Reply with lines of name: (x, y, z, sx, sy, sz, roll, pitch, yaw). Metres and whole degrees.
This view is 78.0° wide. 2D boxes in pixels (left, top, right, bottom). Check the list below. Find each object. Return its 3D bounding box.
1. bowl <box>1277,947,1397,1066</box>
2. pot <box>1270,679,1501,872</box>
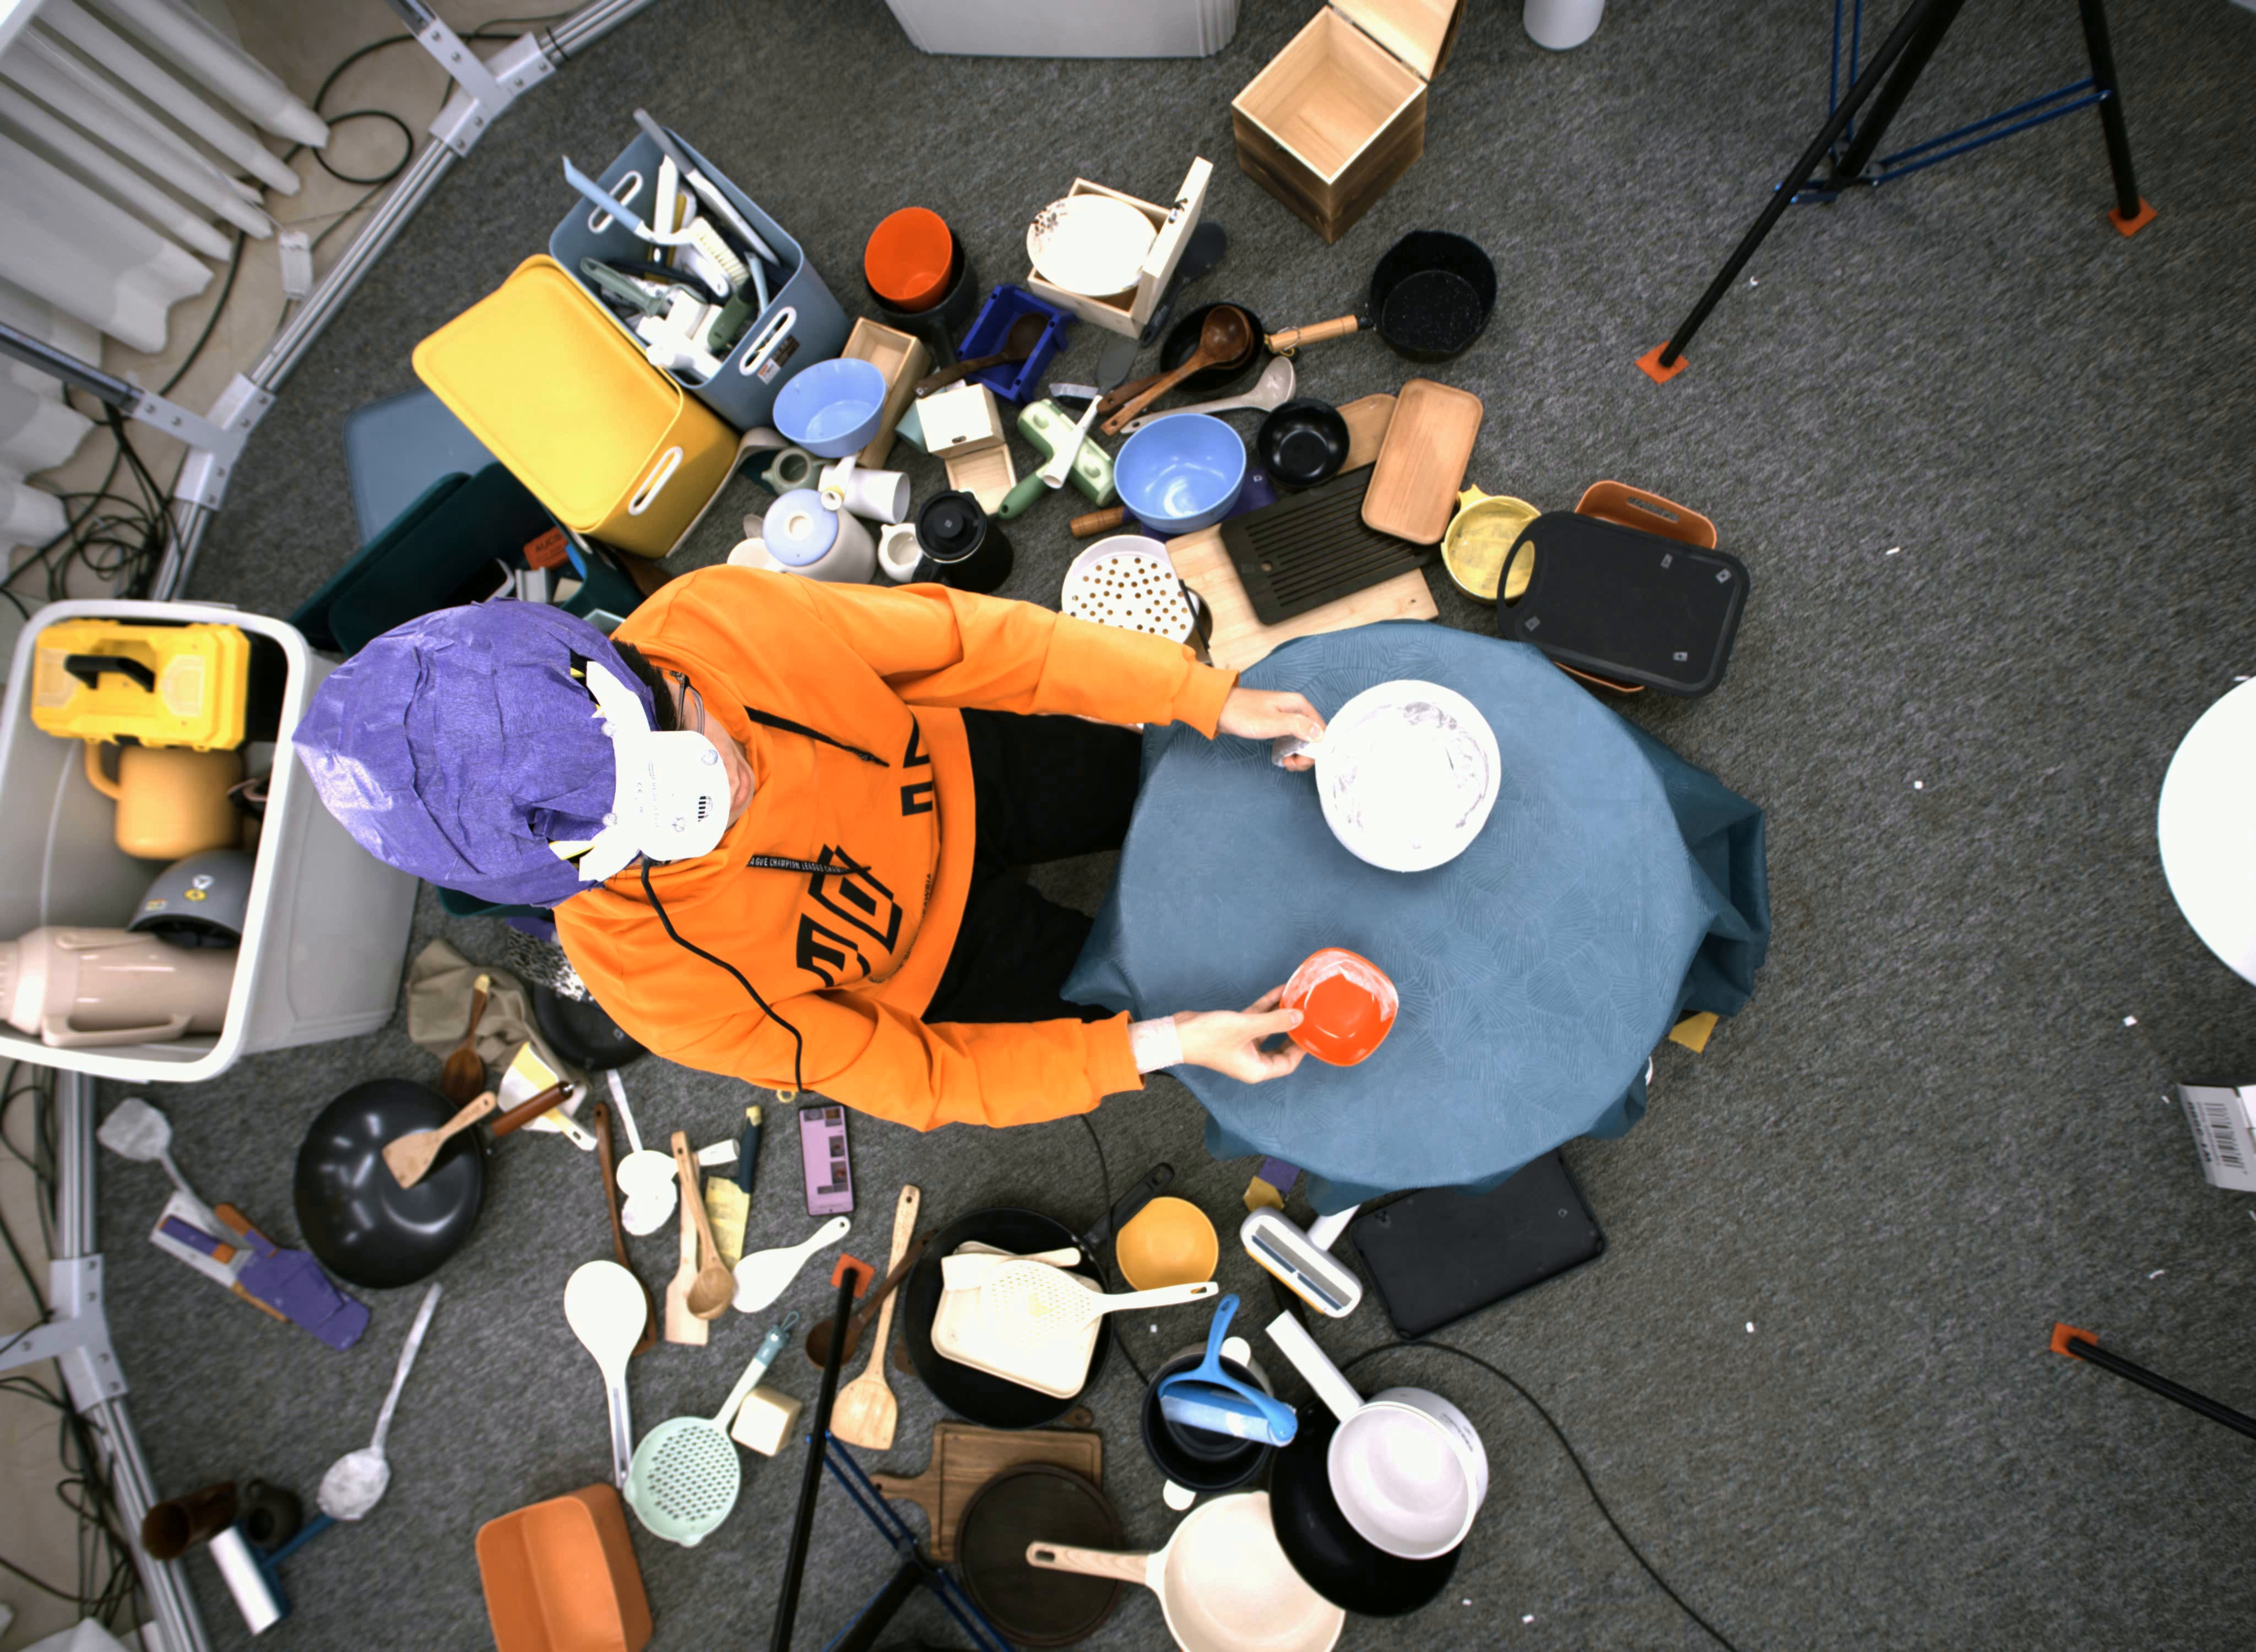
bowl: (0.211, 0.178, 1.398, 0.119, 0.051, 0.119, 0, 92, 9)
pot: (0.255, -0.055, 1.396, 0.234, 0.137, 0.178, 17, 85, 12)
